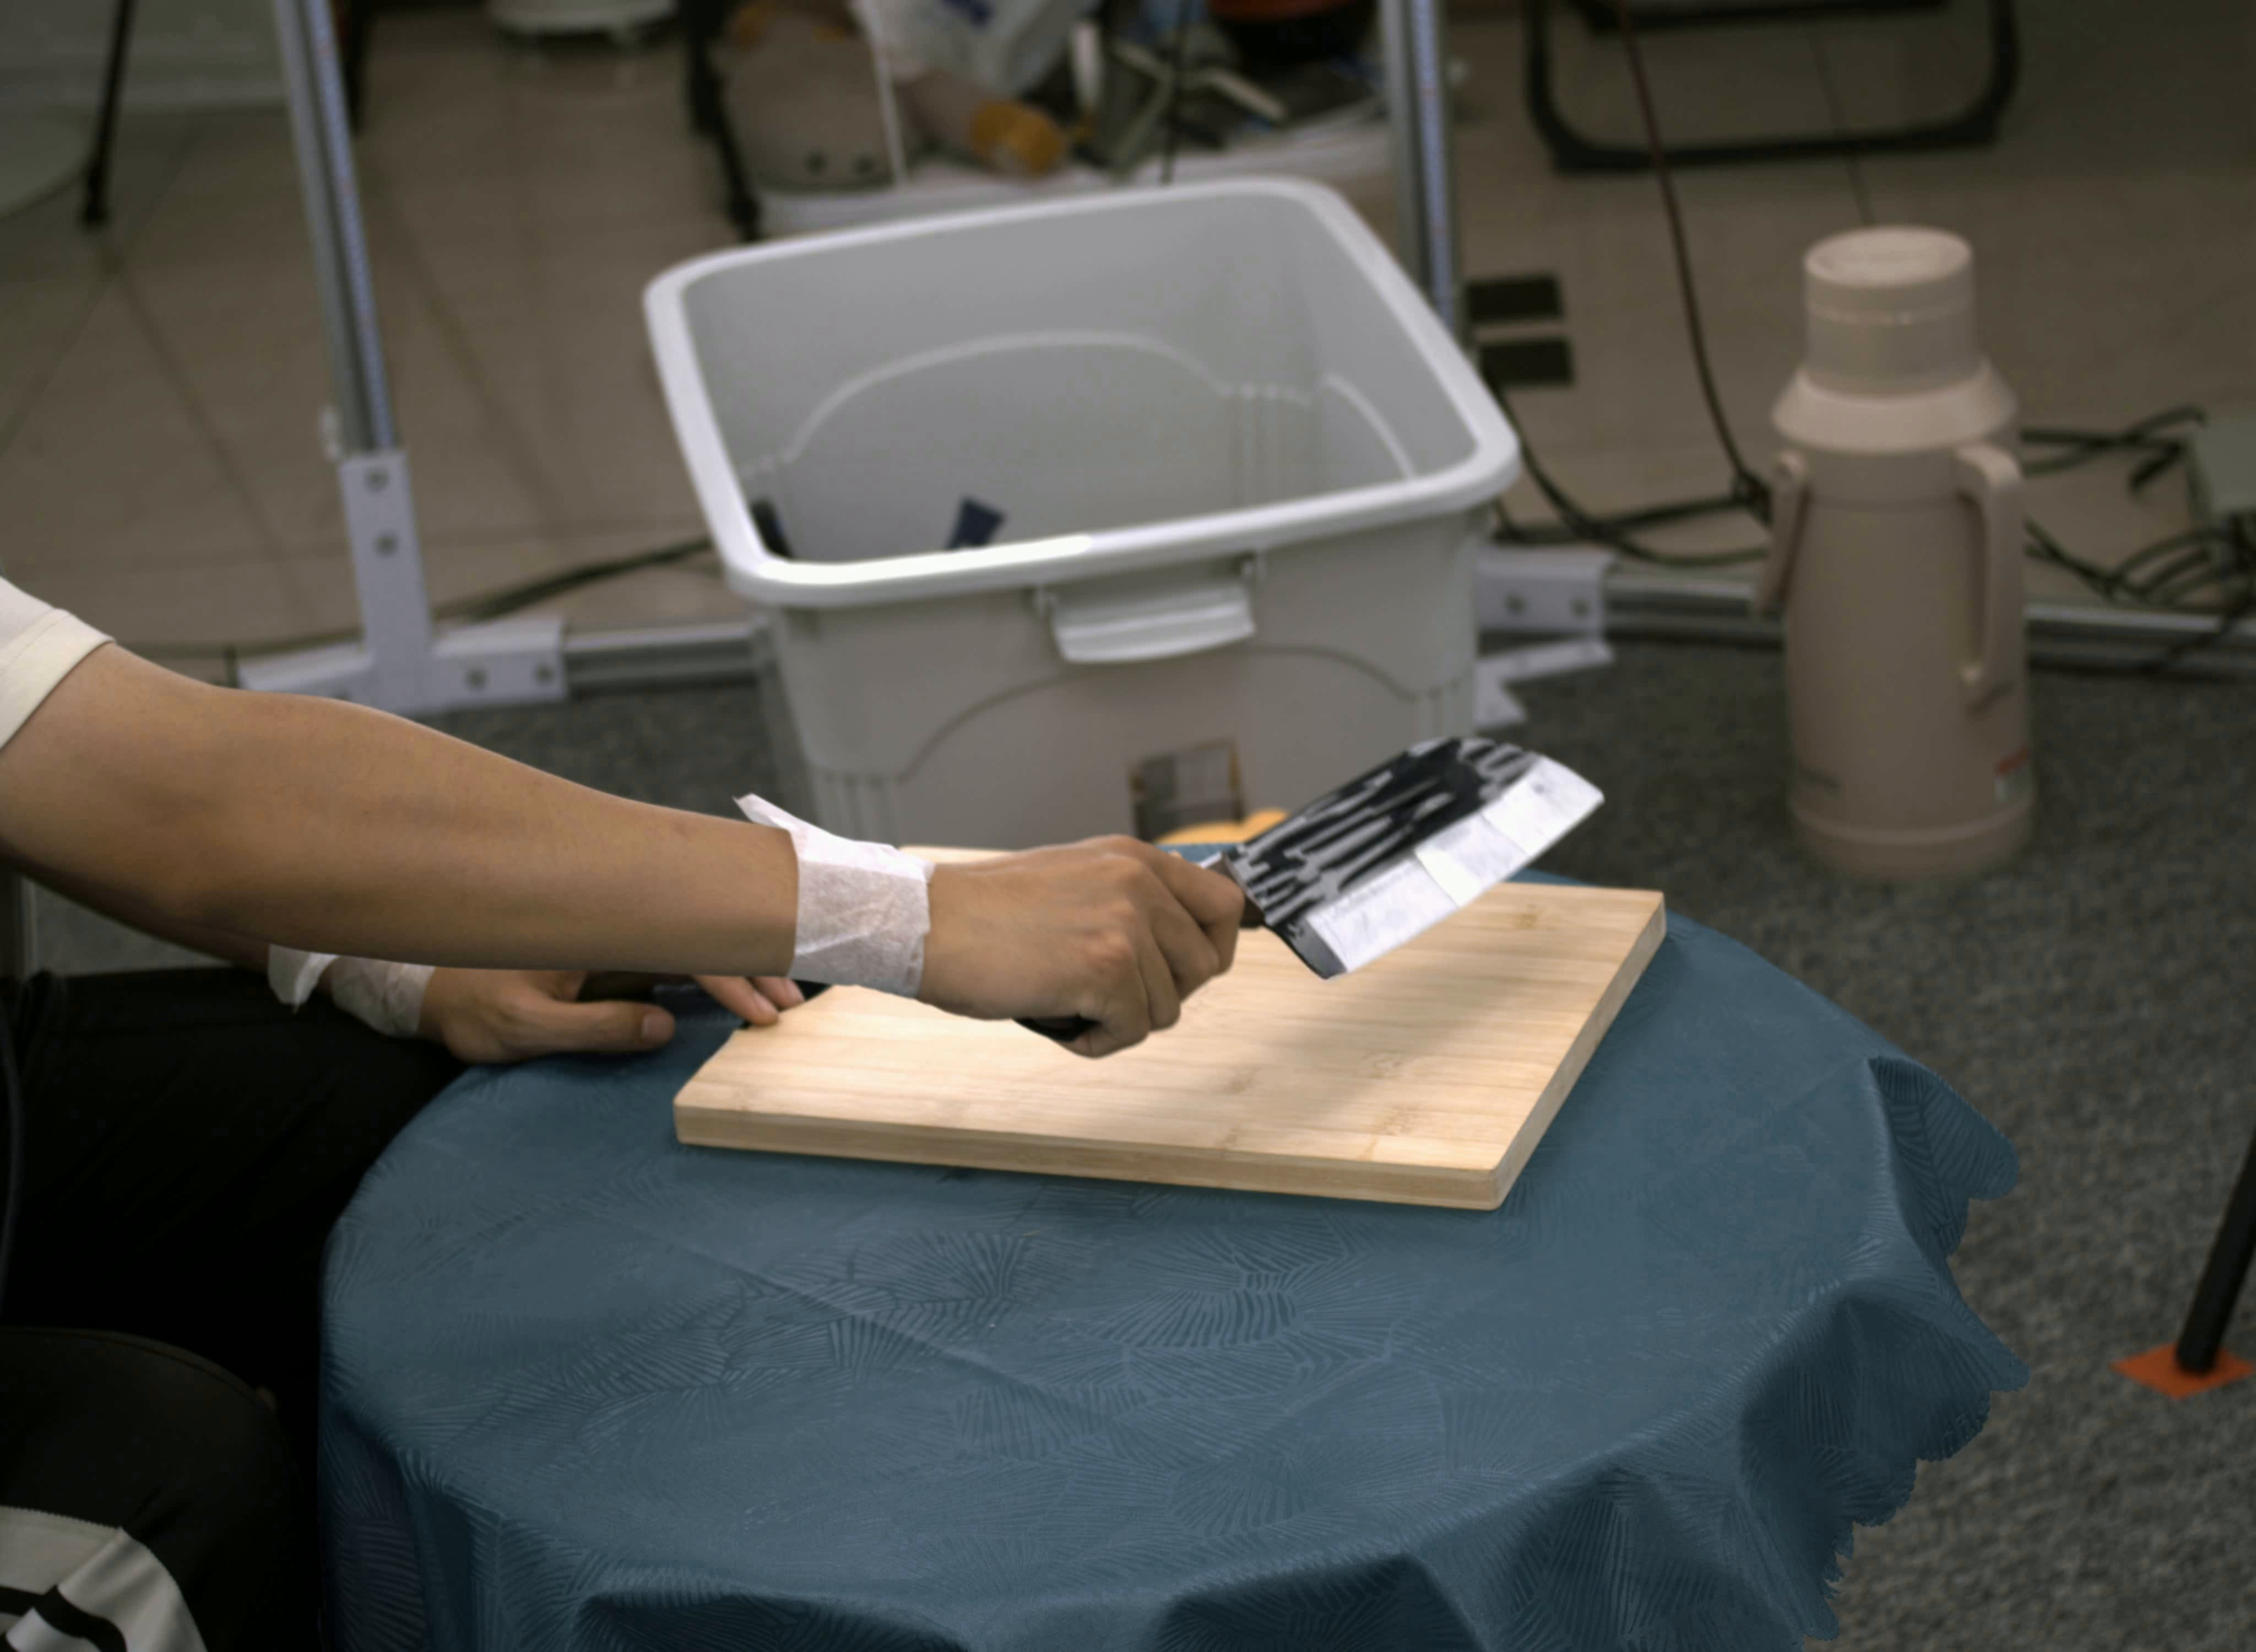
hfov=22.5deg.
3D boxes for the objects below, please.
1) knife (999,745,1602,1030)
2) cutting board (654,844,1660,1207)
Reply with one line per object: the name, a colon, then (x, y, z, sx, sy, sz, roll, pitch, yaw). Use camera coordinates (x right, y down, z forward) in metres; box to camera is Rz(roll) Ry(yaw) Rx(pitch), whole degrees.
knife: (0.072, 0.027, 2.159, 0.297, 0.024, 0.067, -27, 70, -39)
cutting board: (0.015, 0.075, 2.265, 0.348, 0.024, 0.247, 3, 26, 20)
